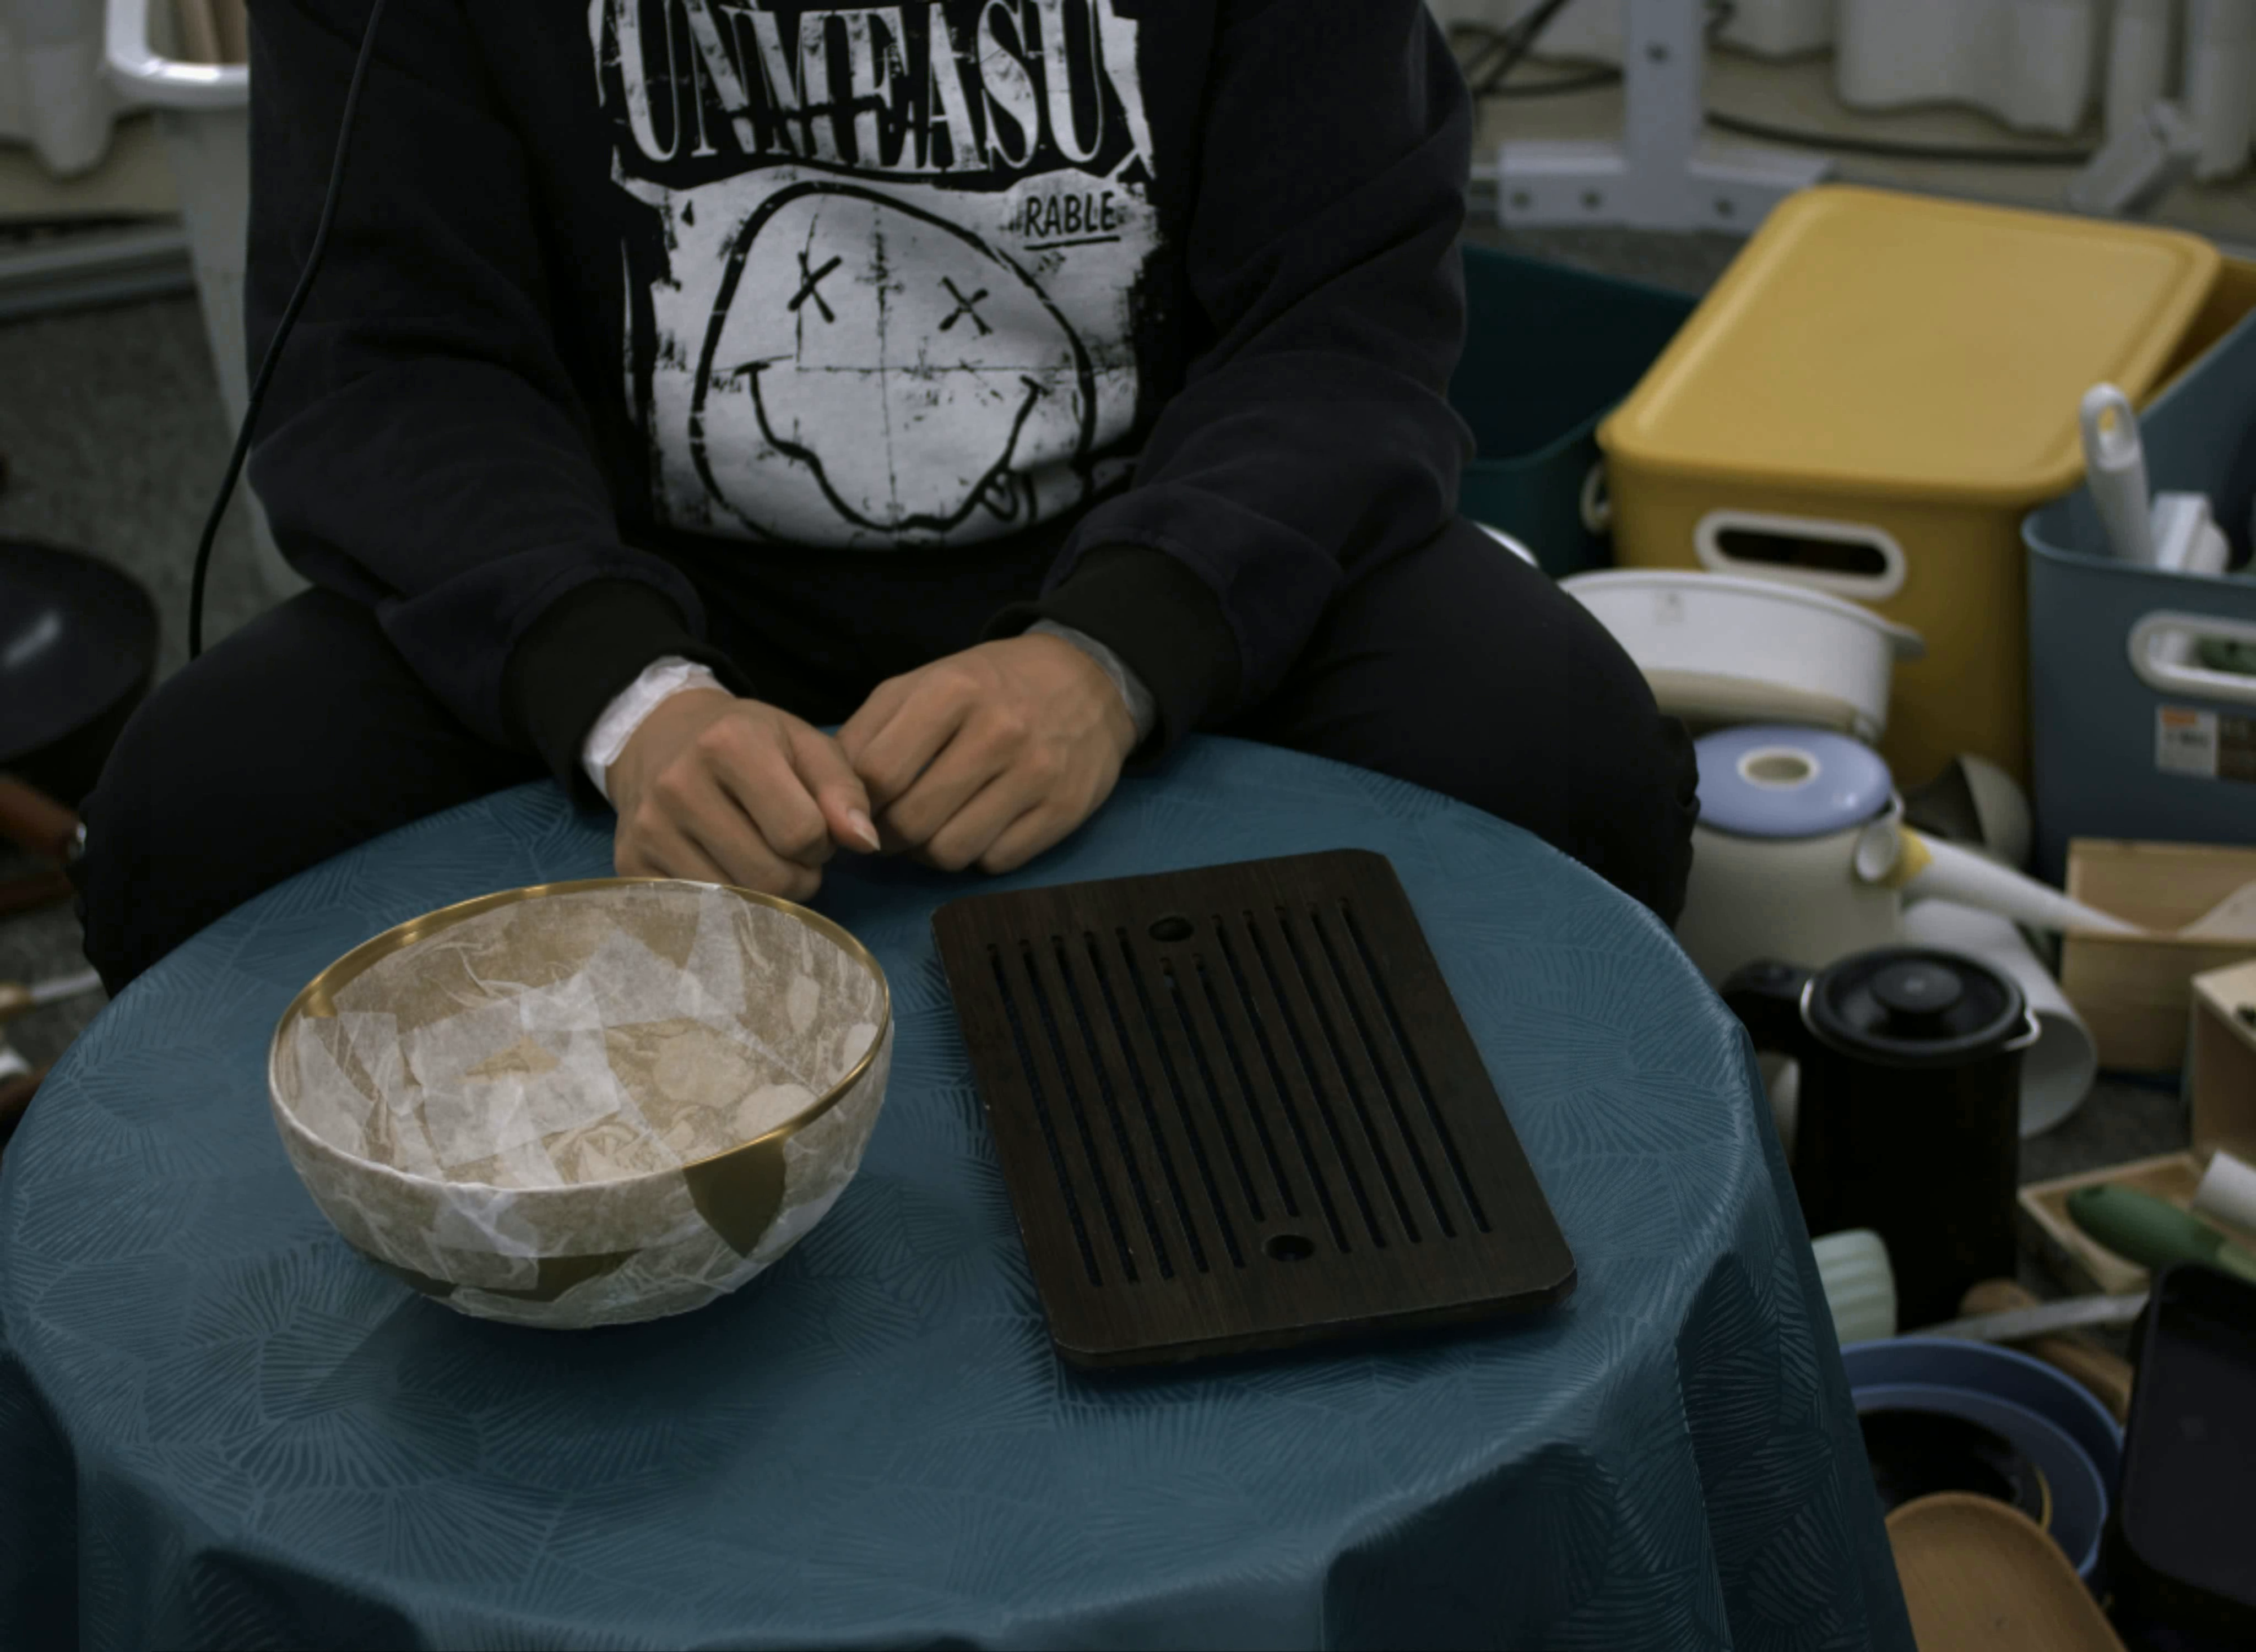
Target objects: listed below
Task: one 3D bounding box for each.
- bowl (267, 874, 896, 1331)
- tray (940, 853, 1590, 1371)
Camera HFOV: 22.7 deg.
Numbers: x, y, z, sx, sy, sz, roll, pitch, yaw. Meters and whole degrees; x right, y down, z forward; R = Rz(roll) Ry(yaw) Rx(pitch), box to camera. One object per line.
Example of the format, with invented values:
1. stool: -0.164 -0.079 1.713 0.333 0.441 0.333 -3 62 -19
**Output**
1. bowl: -0.169 0.101 1.818 0.213 0.093 0.218 -3 26 2
2. tray: 0.039 0.093 1.893 0.170 0.018 0.309 -7 27 -7
